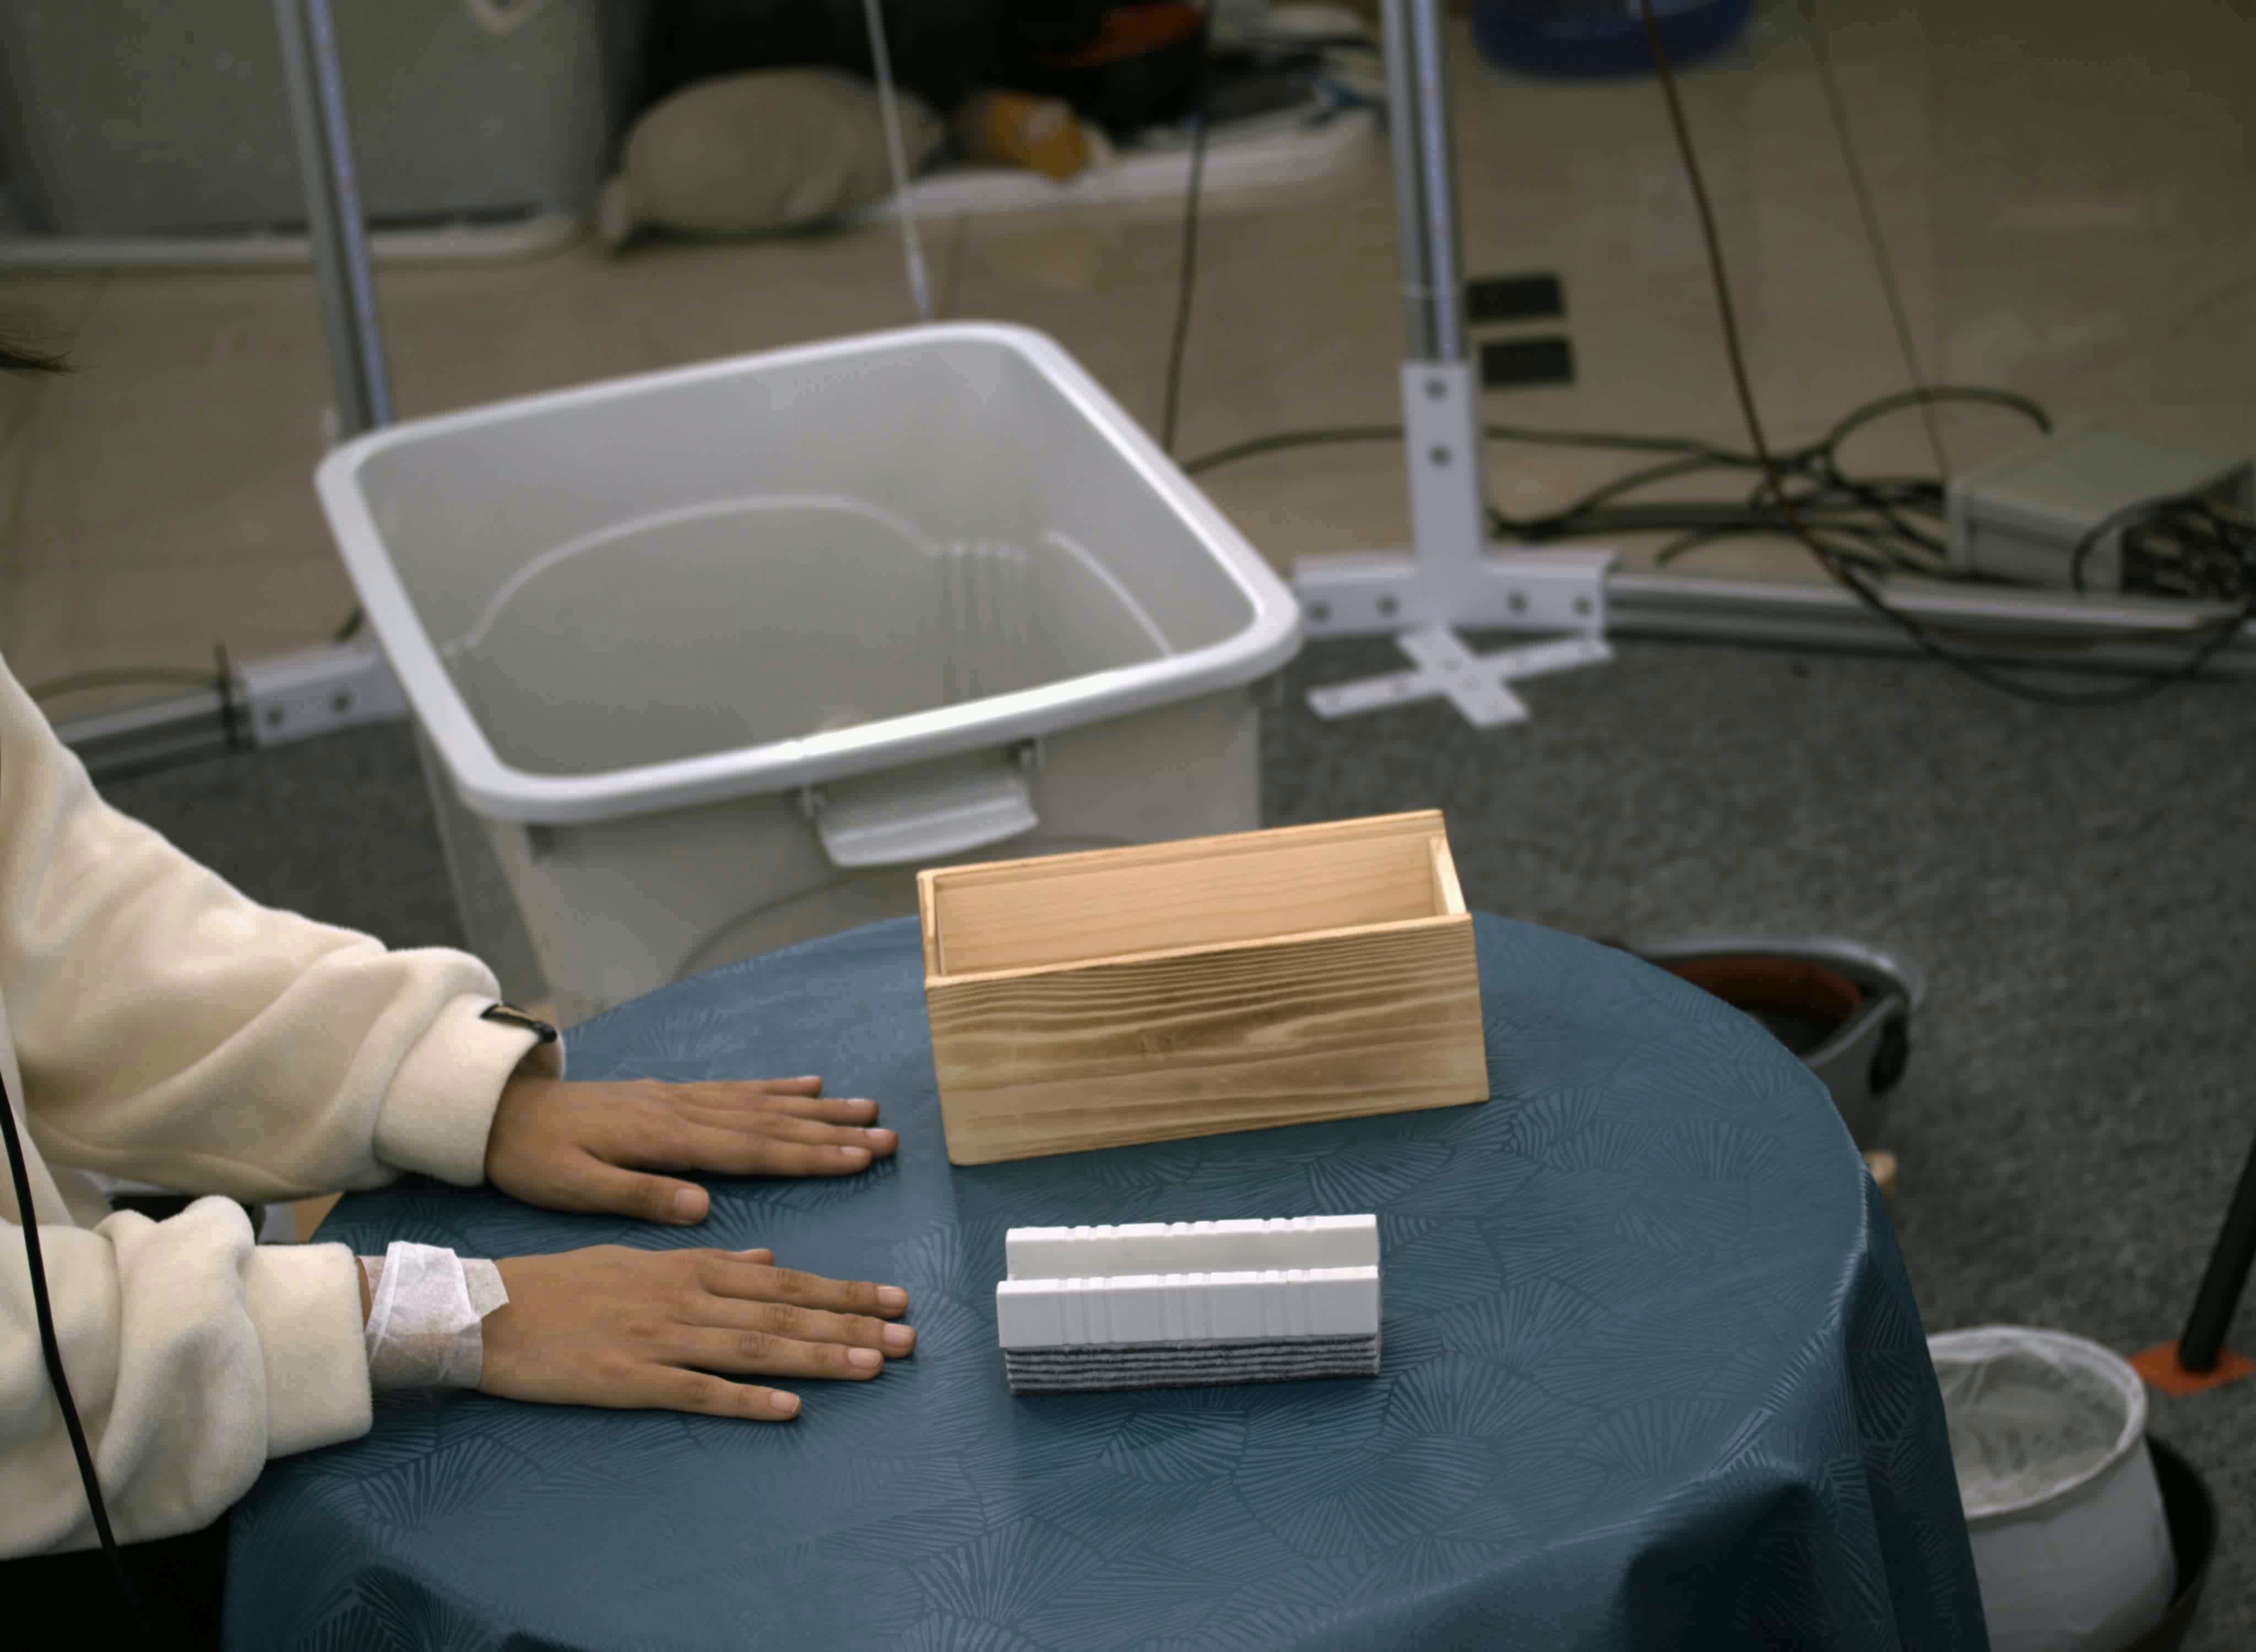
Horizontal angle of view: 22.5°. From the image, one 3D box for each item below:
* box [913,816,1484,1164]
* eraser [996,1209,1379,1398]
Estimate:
[{"bbox_3d":[0.026,0.063,2.210,0.211,0.081,0.106,-7,25,-2],"label":"box"},{"bbox_3d":[0.022,0.170,2.019,0.134,0.047,0.049,-3,27,3],"label":"eraser"}]
